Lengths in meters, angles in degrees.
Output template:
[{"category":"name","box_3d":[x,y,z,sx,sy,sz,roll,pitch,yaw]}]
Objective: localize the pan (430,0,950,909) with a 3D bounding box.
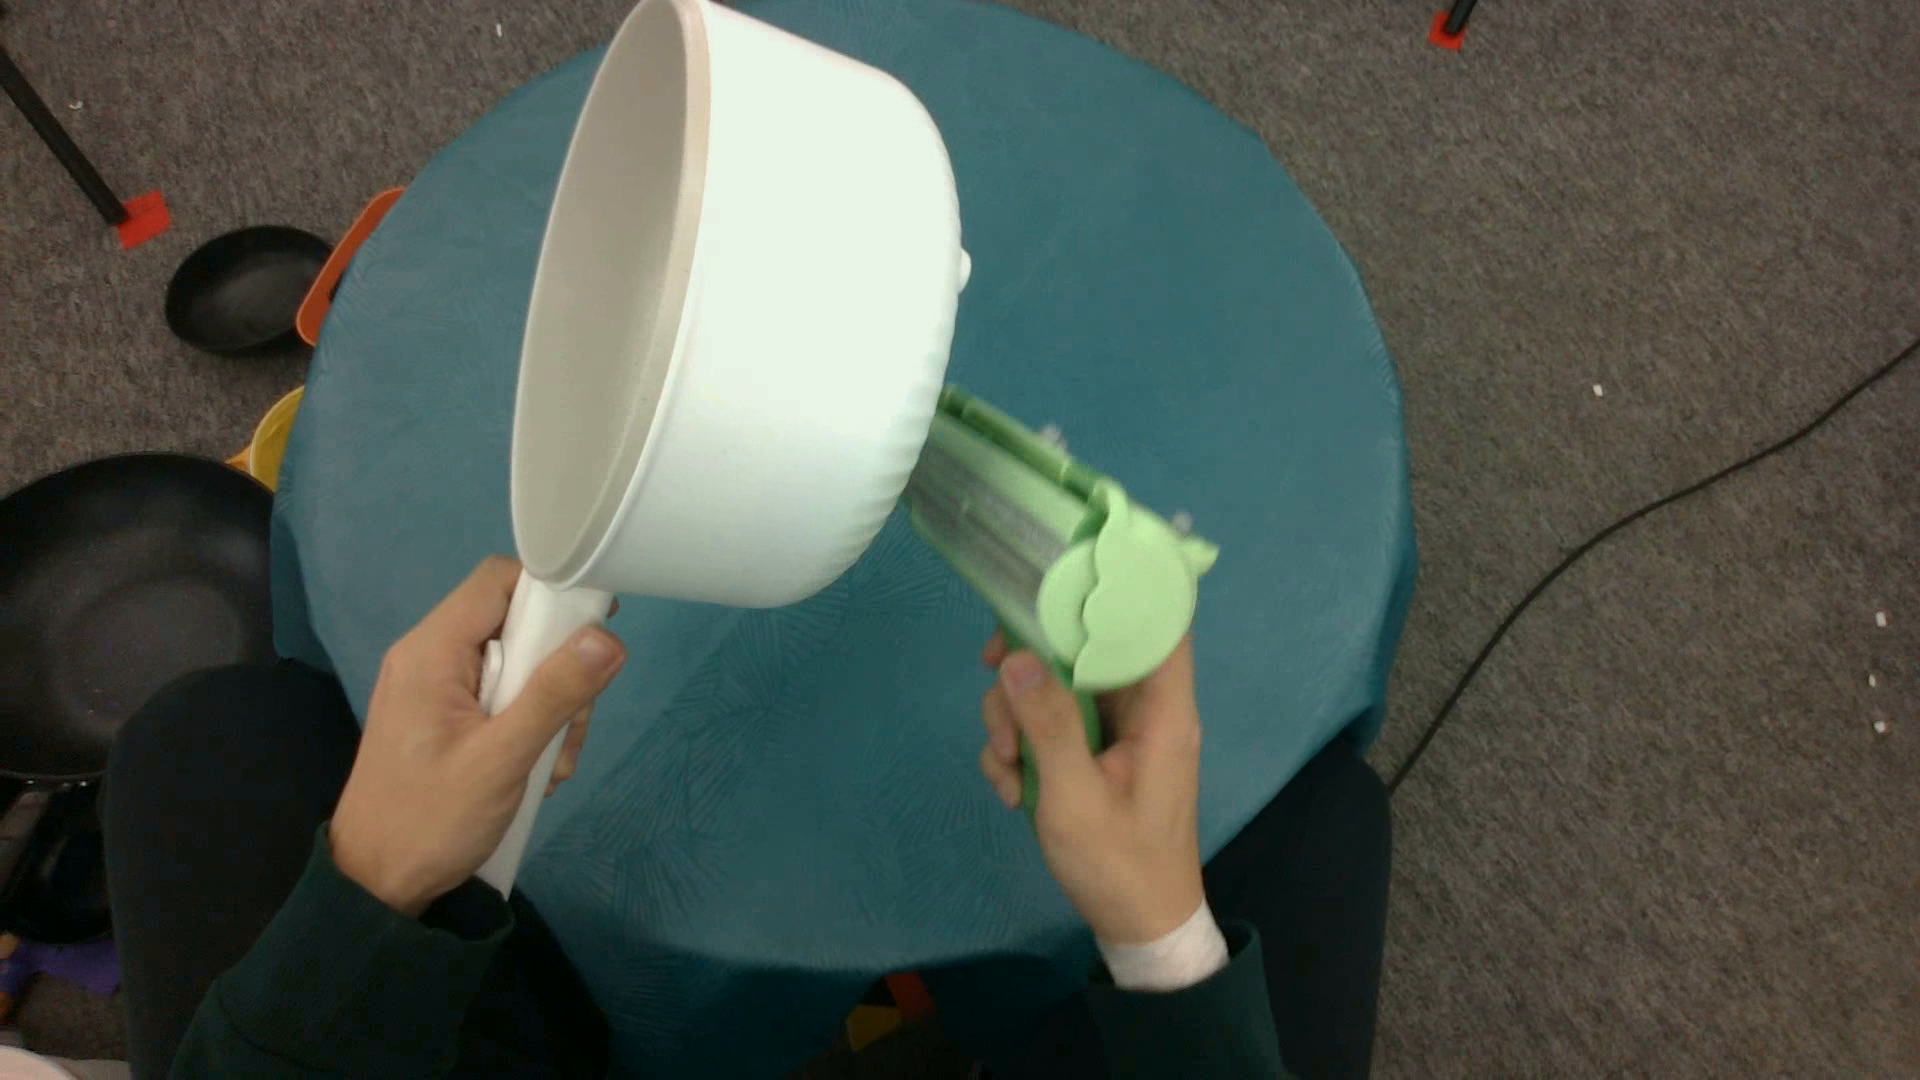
[{"category":"pan","box_3d":[-0.111,-0.013,0.508,0.102,0.353,0.201,8,24,-30]}]

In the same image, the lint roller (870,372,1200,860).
[{"category":"lint roller","box_3d":[0.039,0.034,0.523,0.082,0.199,0.183,-26,112,-11]}]
